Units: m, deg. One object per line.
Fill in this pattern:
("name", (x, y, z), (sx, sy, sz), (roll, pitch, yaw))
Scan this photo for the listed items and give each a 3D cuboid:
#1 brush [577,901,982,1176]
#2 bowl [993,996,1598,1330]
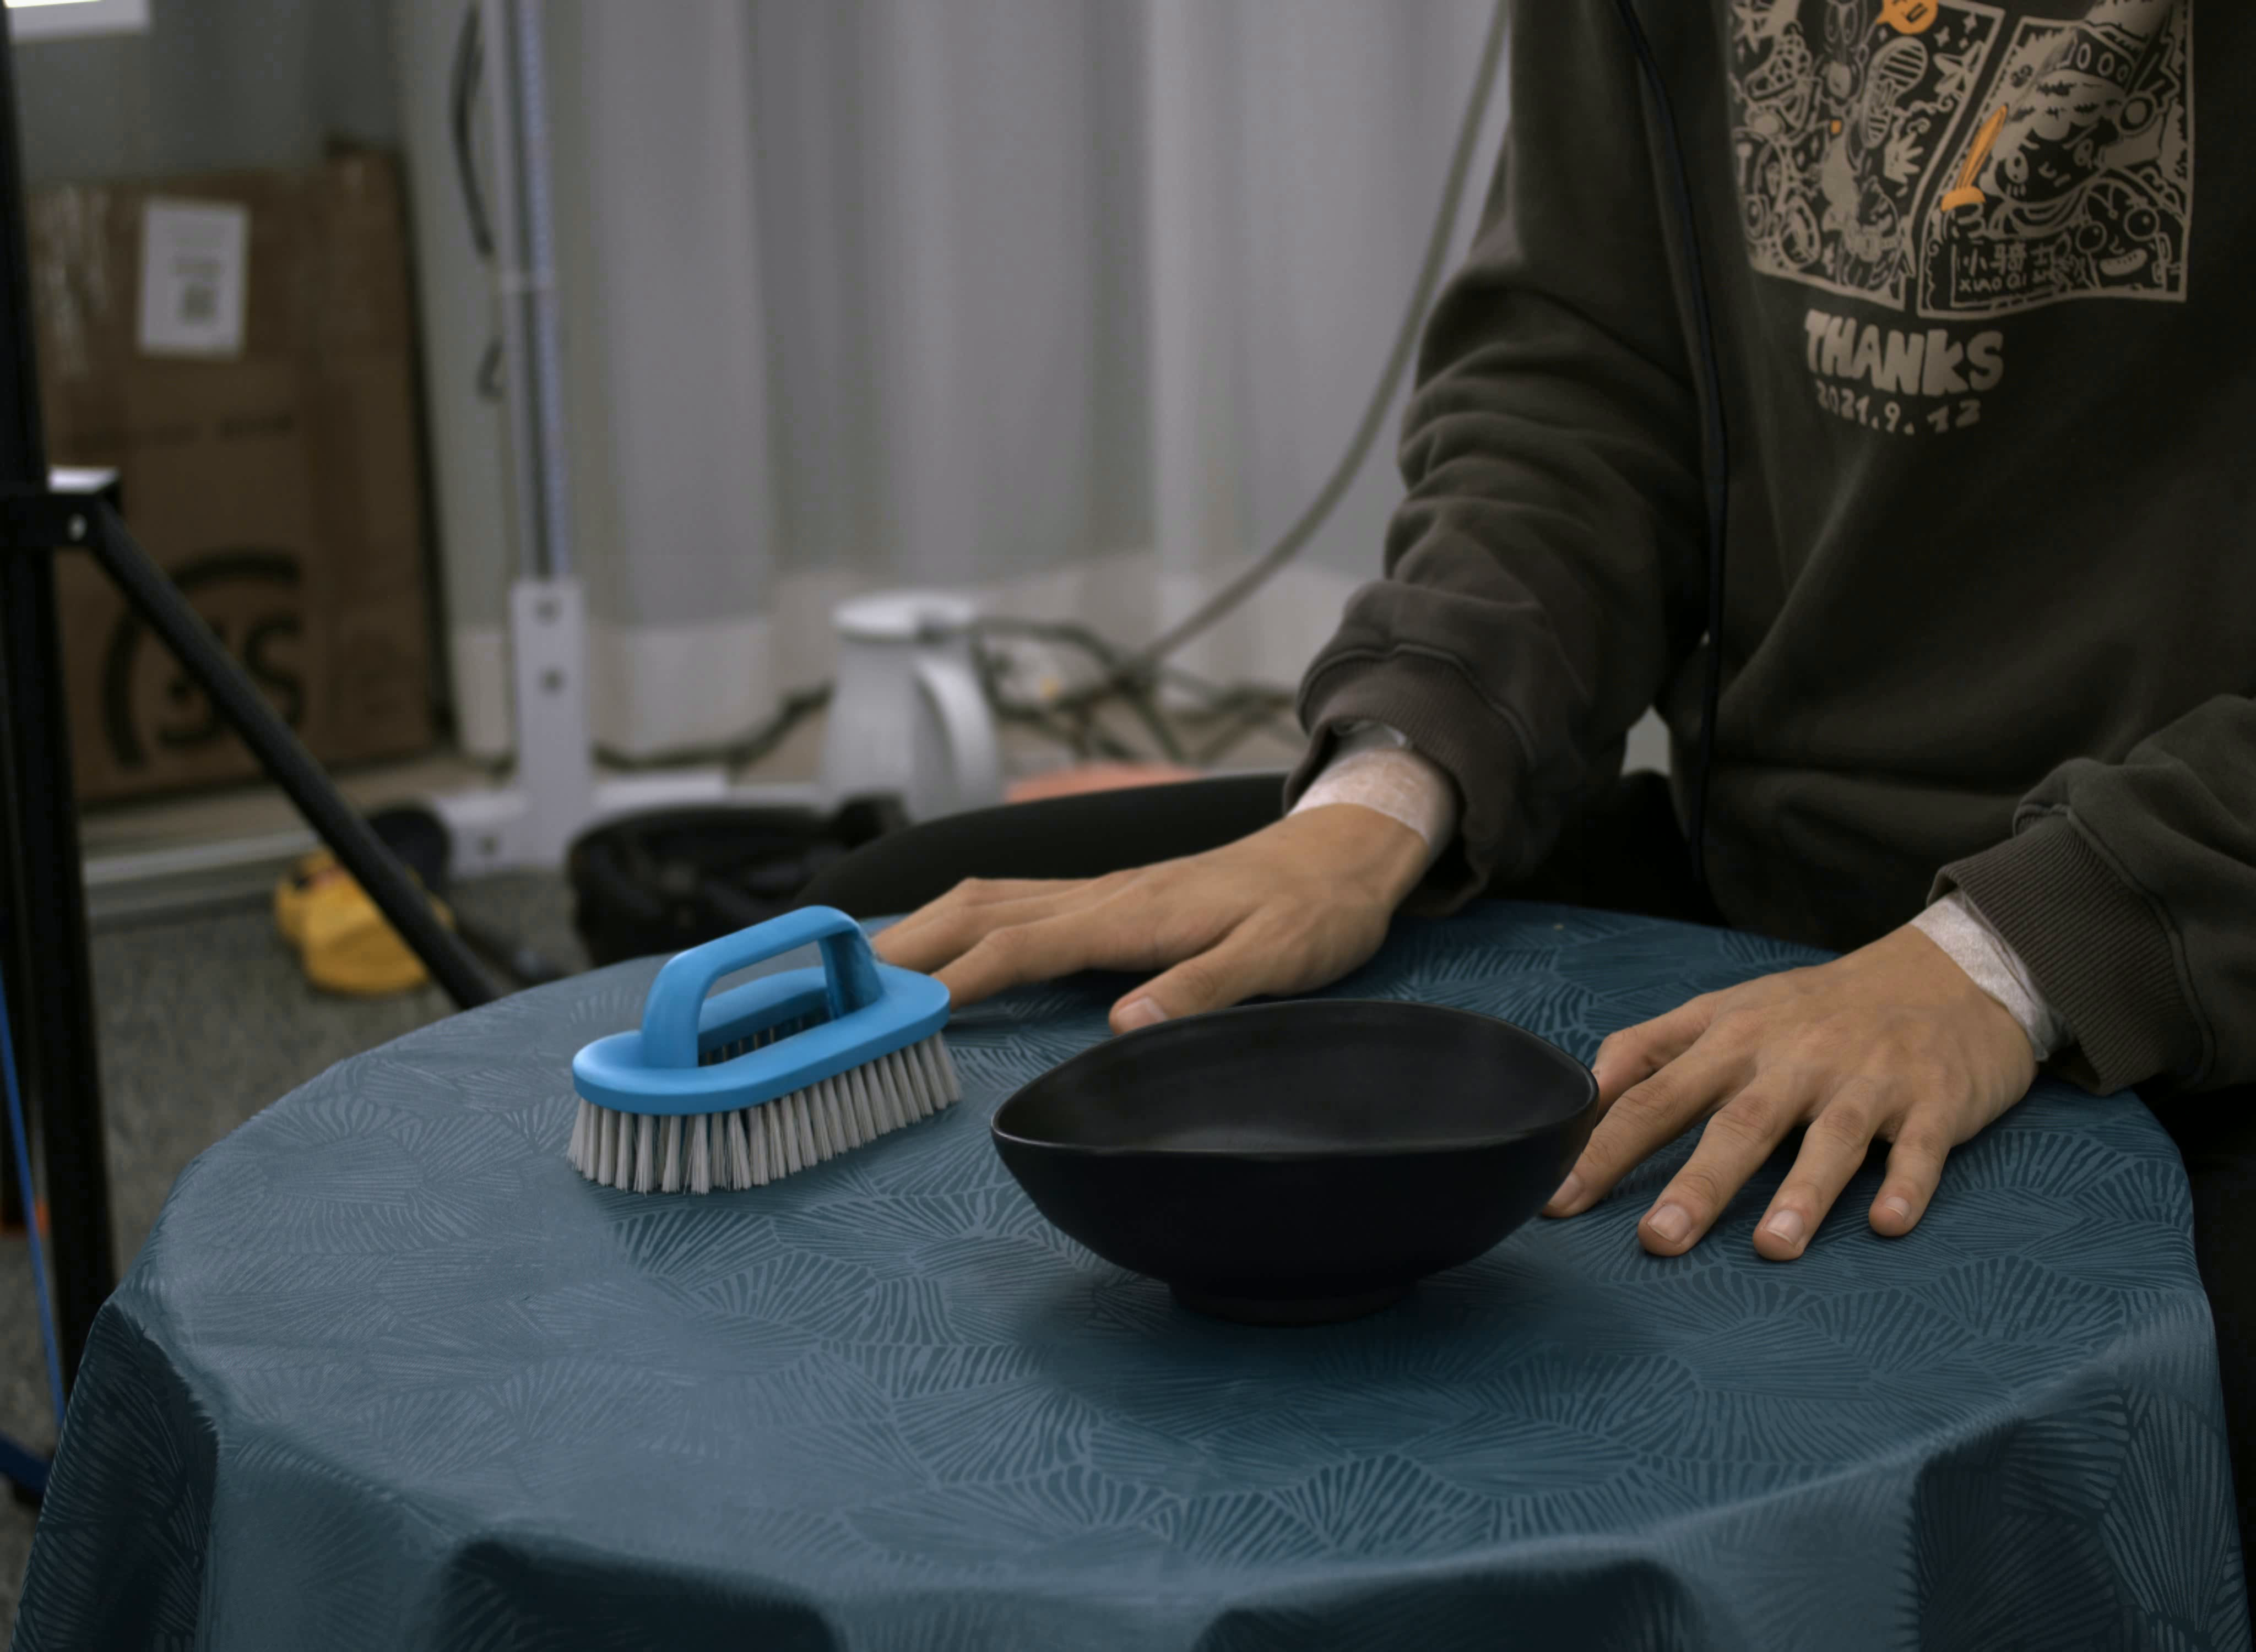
("brush", (-0.110, 0.060, 1.630), (0.086, 0.064, 0.138), (6, 16, 42))
("bowl", (0.046, 0.099, 1.472), (0.171, 0.067, 0.137), (-1, 15, 10))
